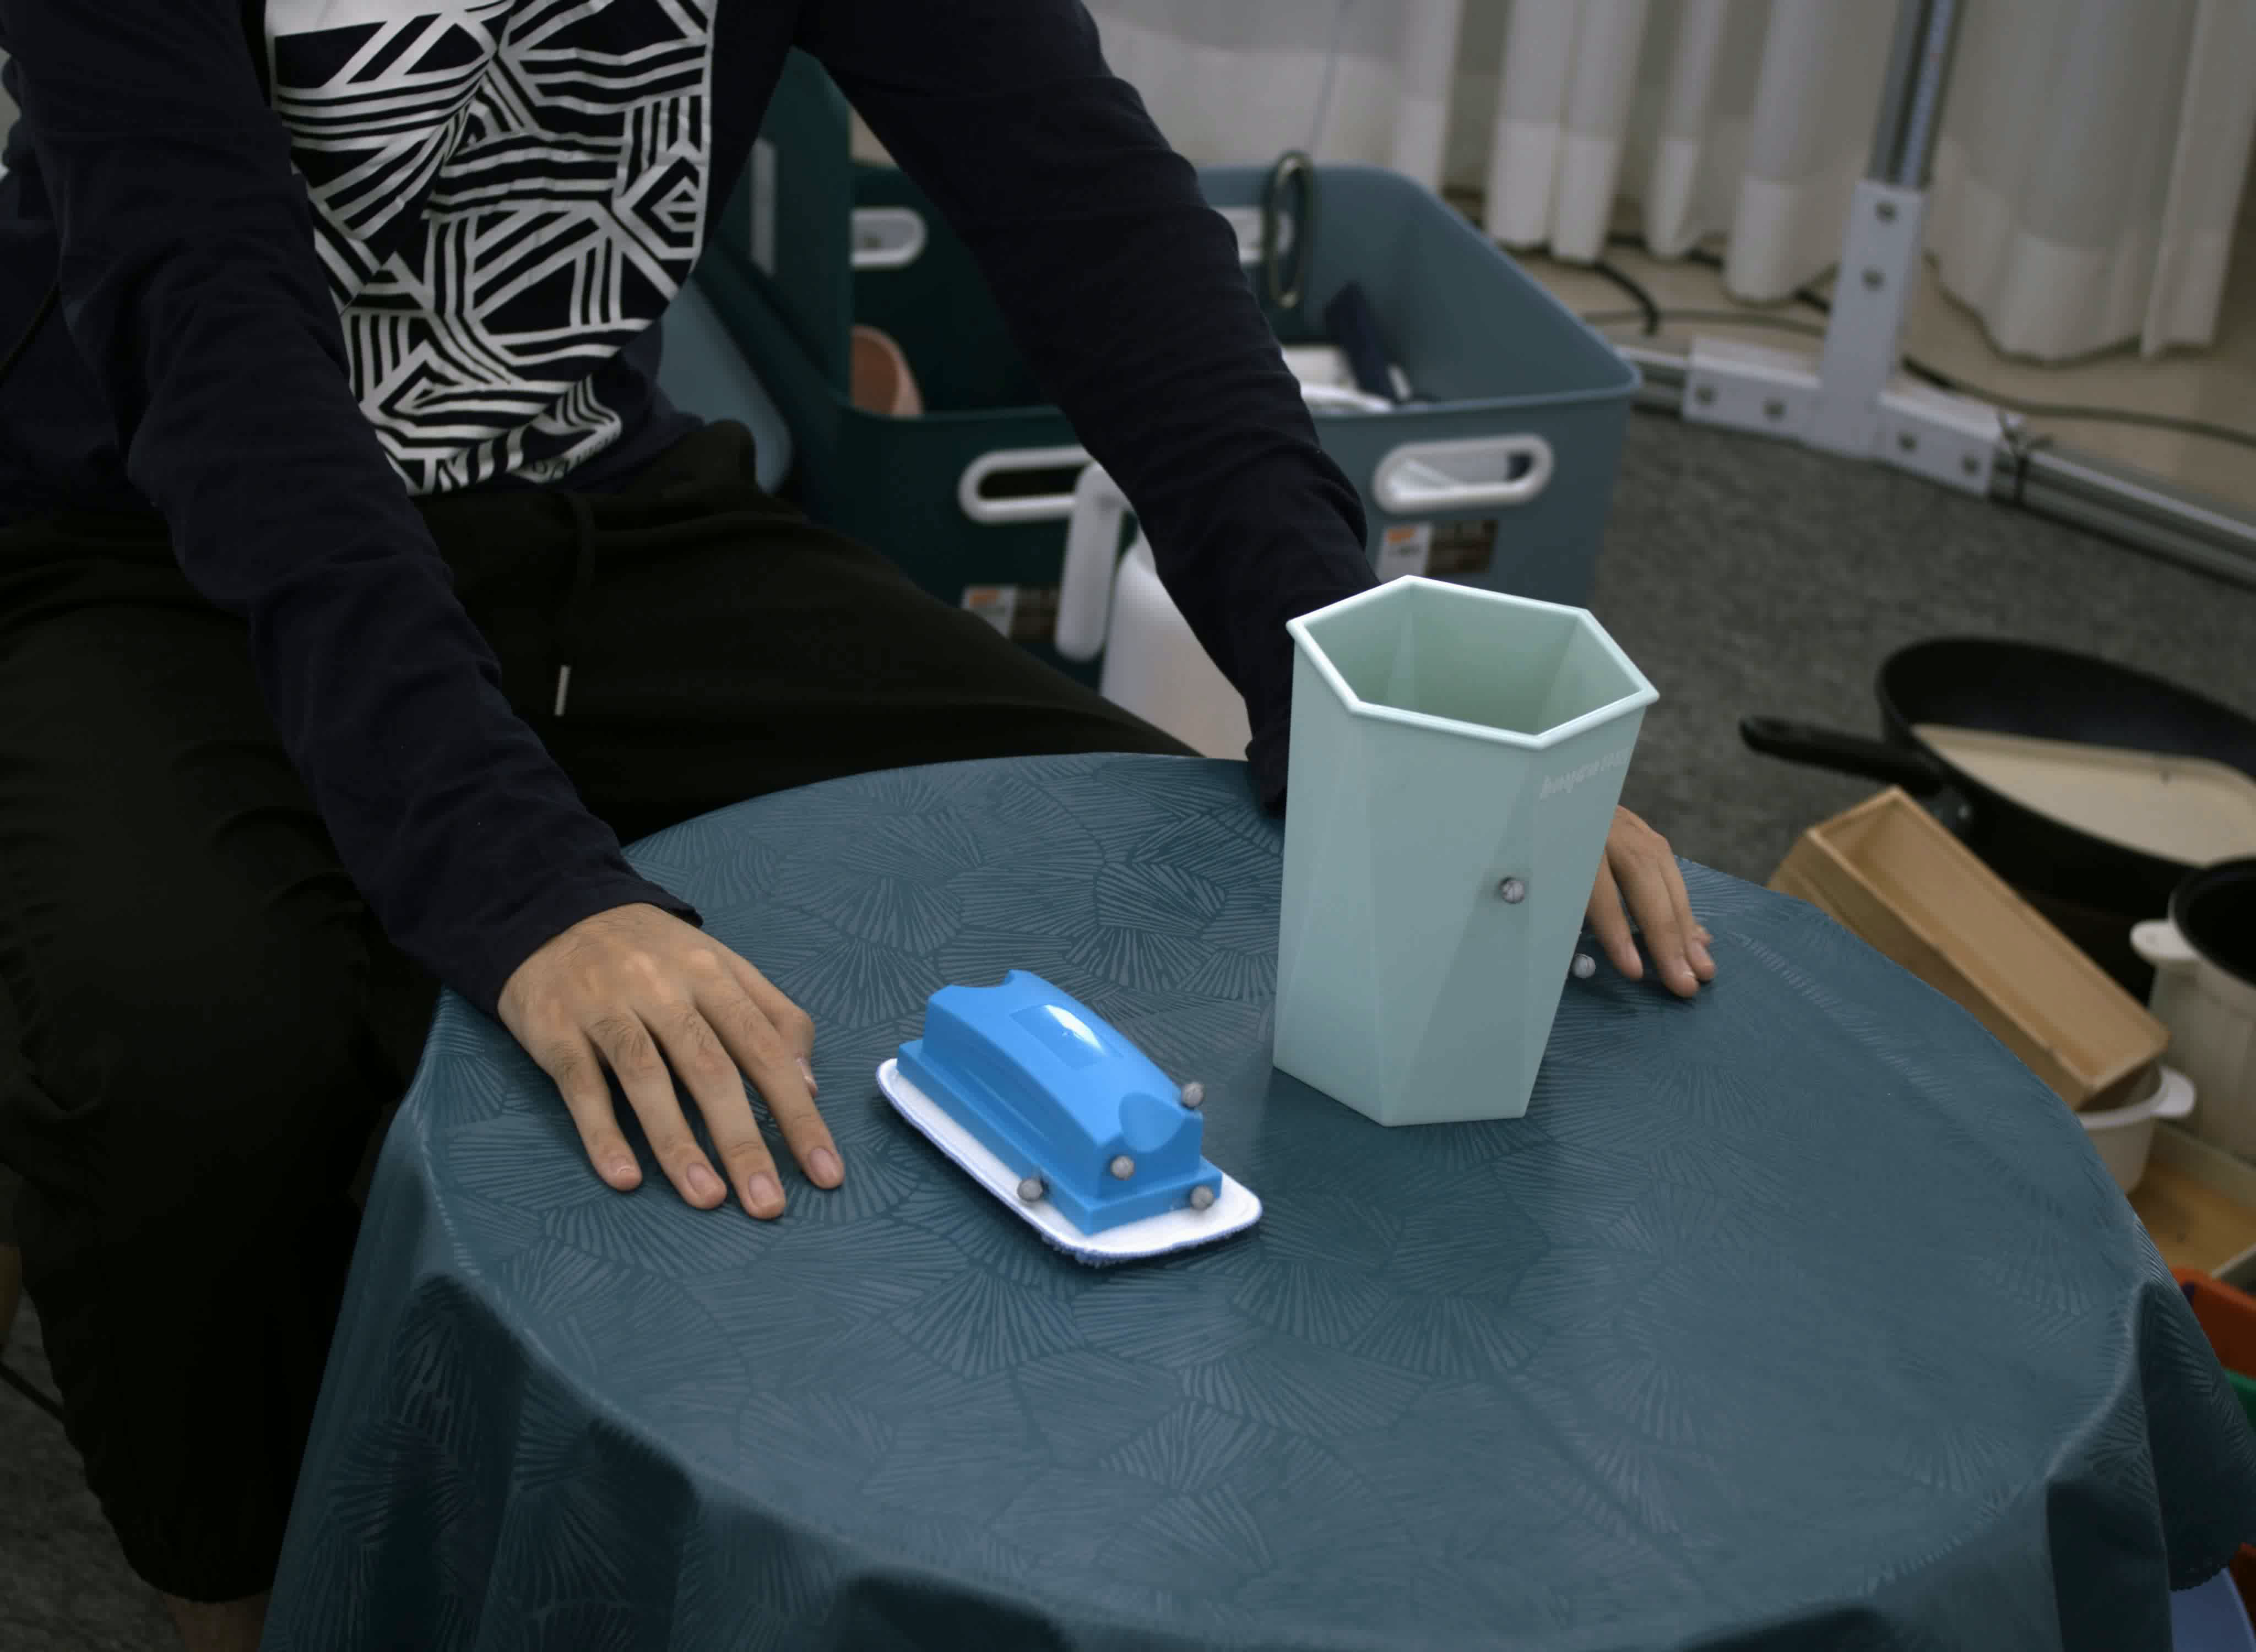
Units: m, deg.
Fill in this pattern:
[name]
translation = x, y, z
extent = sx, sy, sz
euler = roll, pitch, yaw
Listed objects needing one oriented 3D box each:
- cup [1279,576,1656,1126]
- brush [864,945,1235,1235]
[cup]
translation = 0.112, 0.012, 1.873
extent = 0.116, 0.162, 0.130
euler = 25, 32, 34
[brush]
translation = -0.024, 0.085, 1.809
extent = 0.083, 0.056, 0.145
euler = -8, 33, -32
